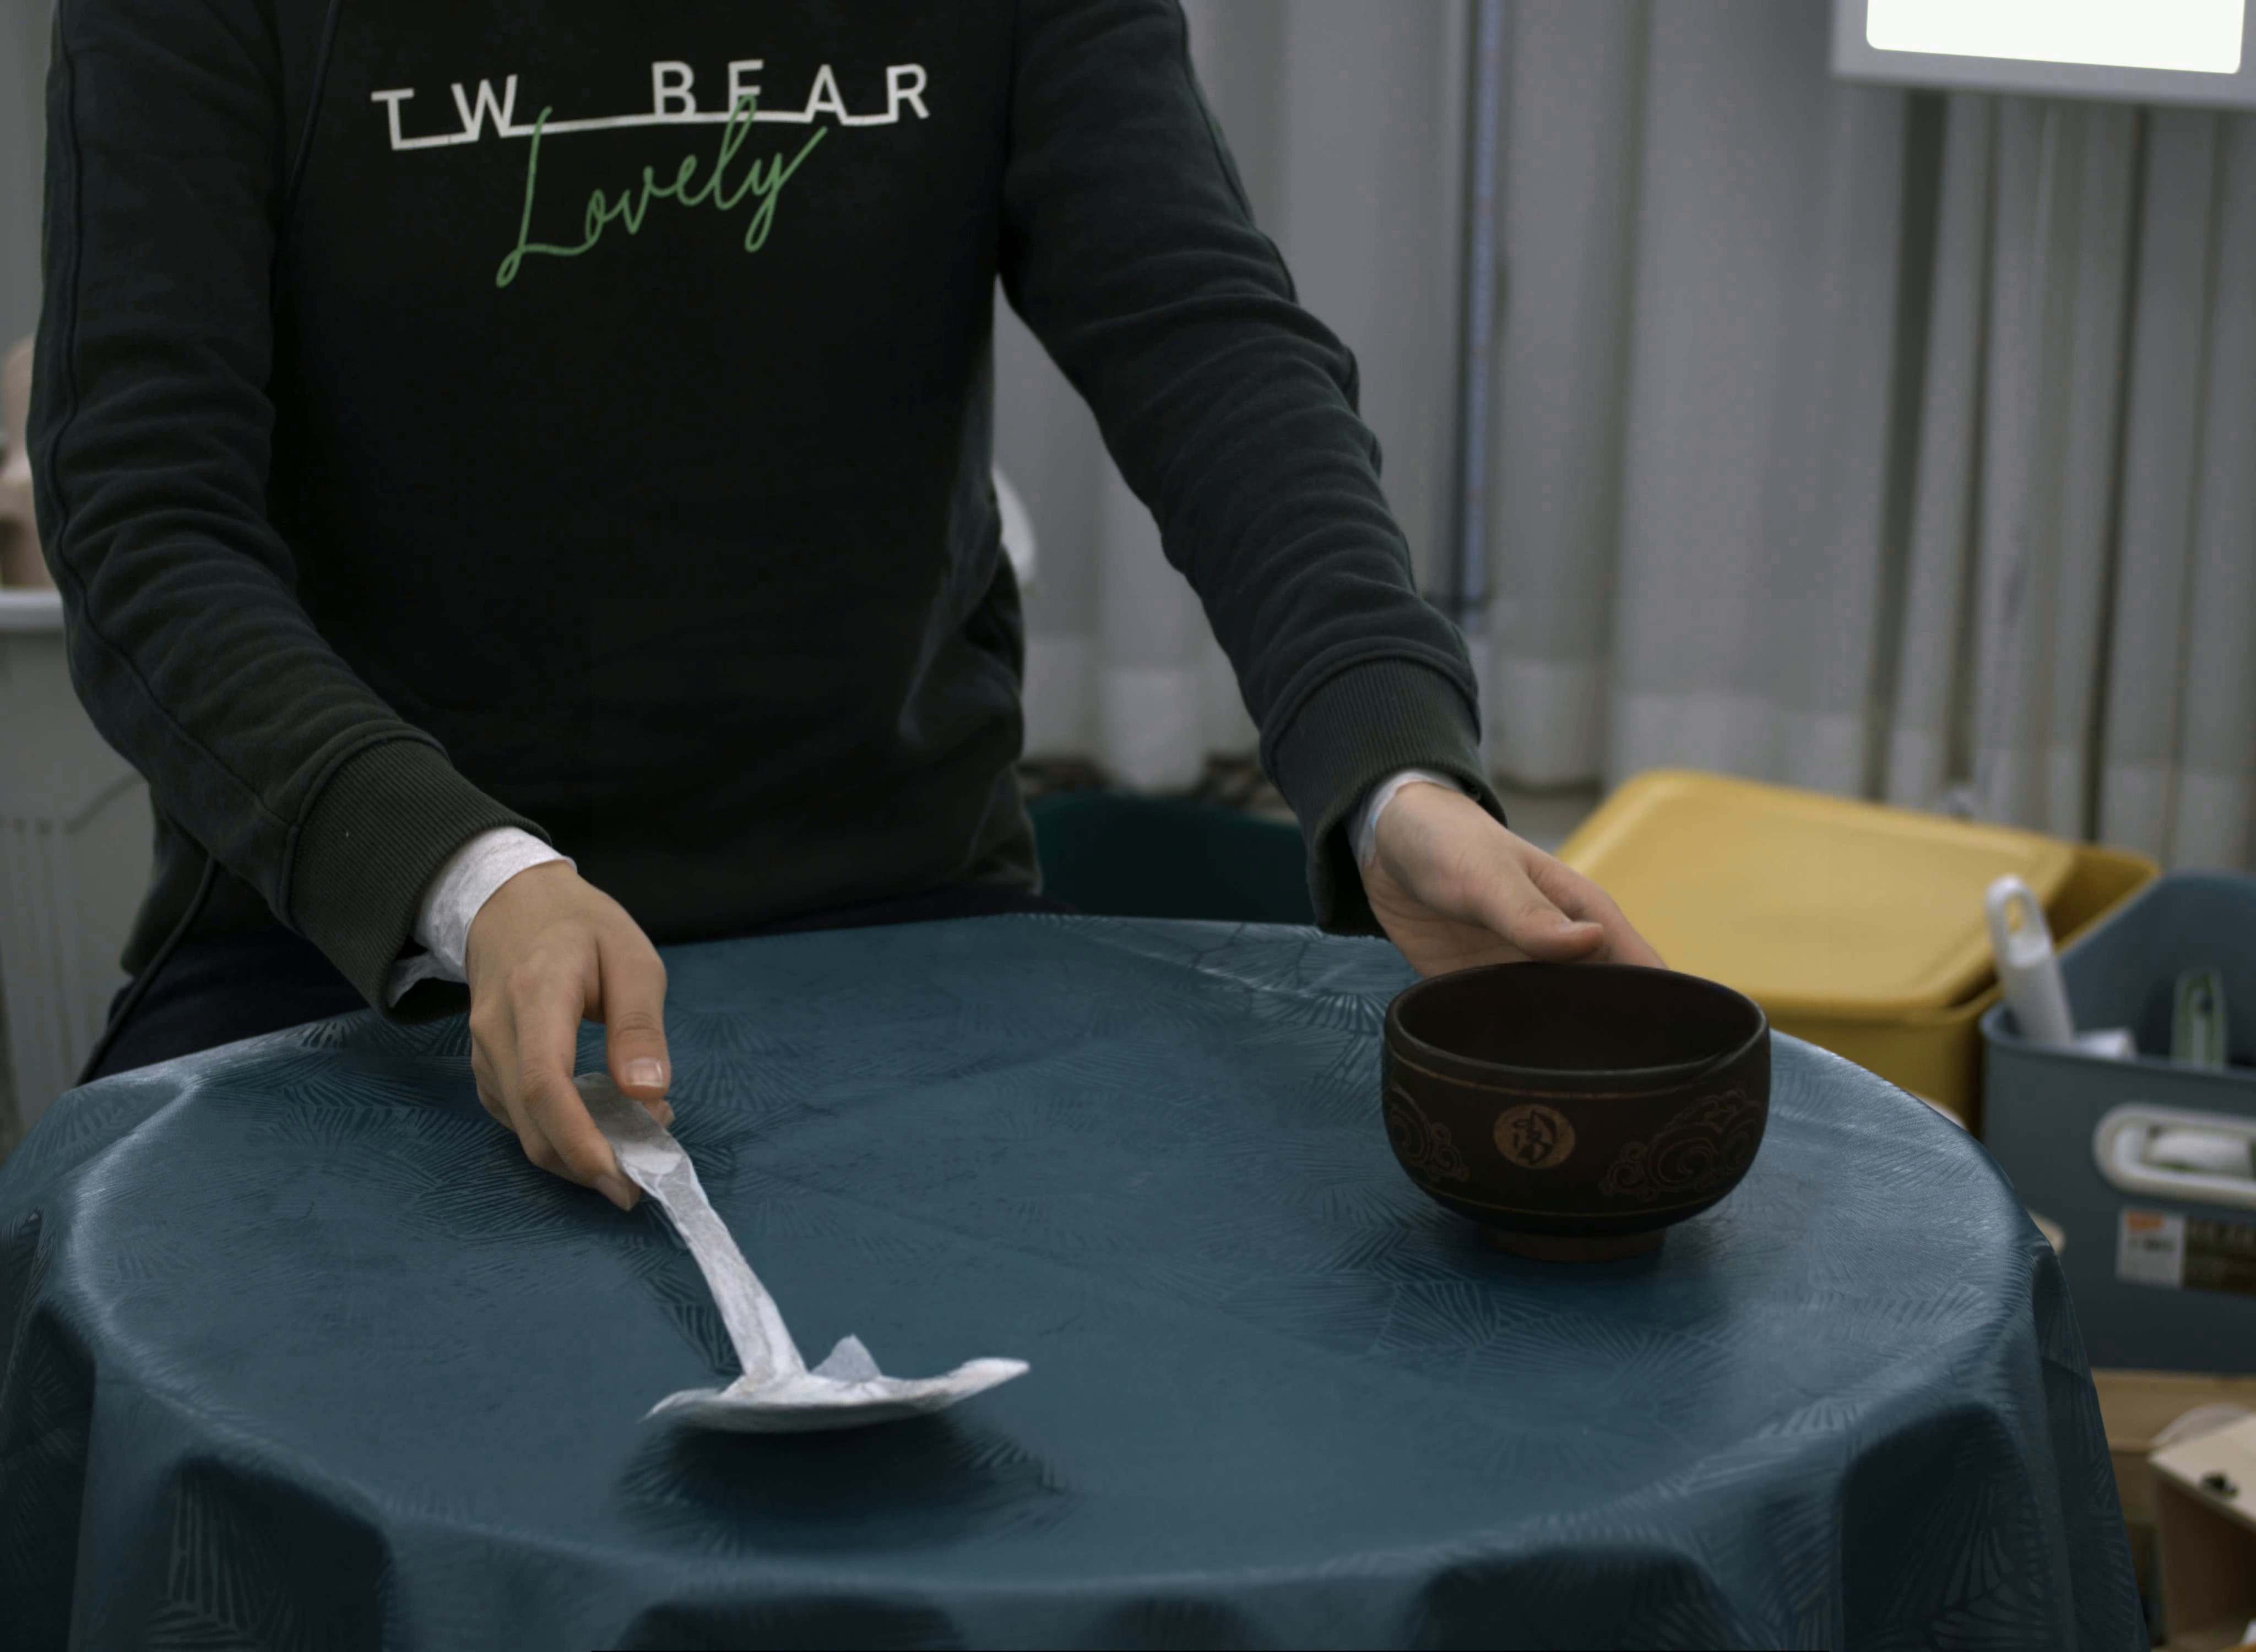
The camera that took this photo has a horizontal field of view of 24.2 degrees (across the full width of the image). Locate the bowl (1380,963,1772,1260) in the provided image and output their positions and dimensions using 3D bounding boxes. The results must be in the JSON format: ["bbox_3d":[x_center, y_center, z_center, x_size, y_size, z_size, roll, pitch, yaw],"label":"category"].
[{"bbox_3d":[0.134,0.089,1.584,0.117,0.070,0.117,1,14,0],"label":"bowl"}]

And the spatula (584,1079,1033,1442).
[{"bbox_3d":[-0.118,0.117,1.529,0.099,0.045,0.361,-6,18,-16],"label":"spatula"}]
